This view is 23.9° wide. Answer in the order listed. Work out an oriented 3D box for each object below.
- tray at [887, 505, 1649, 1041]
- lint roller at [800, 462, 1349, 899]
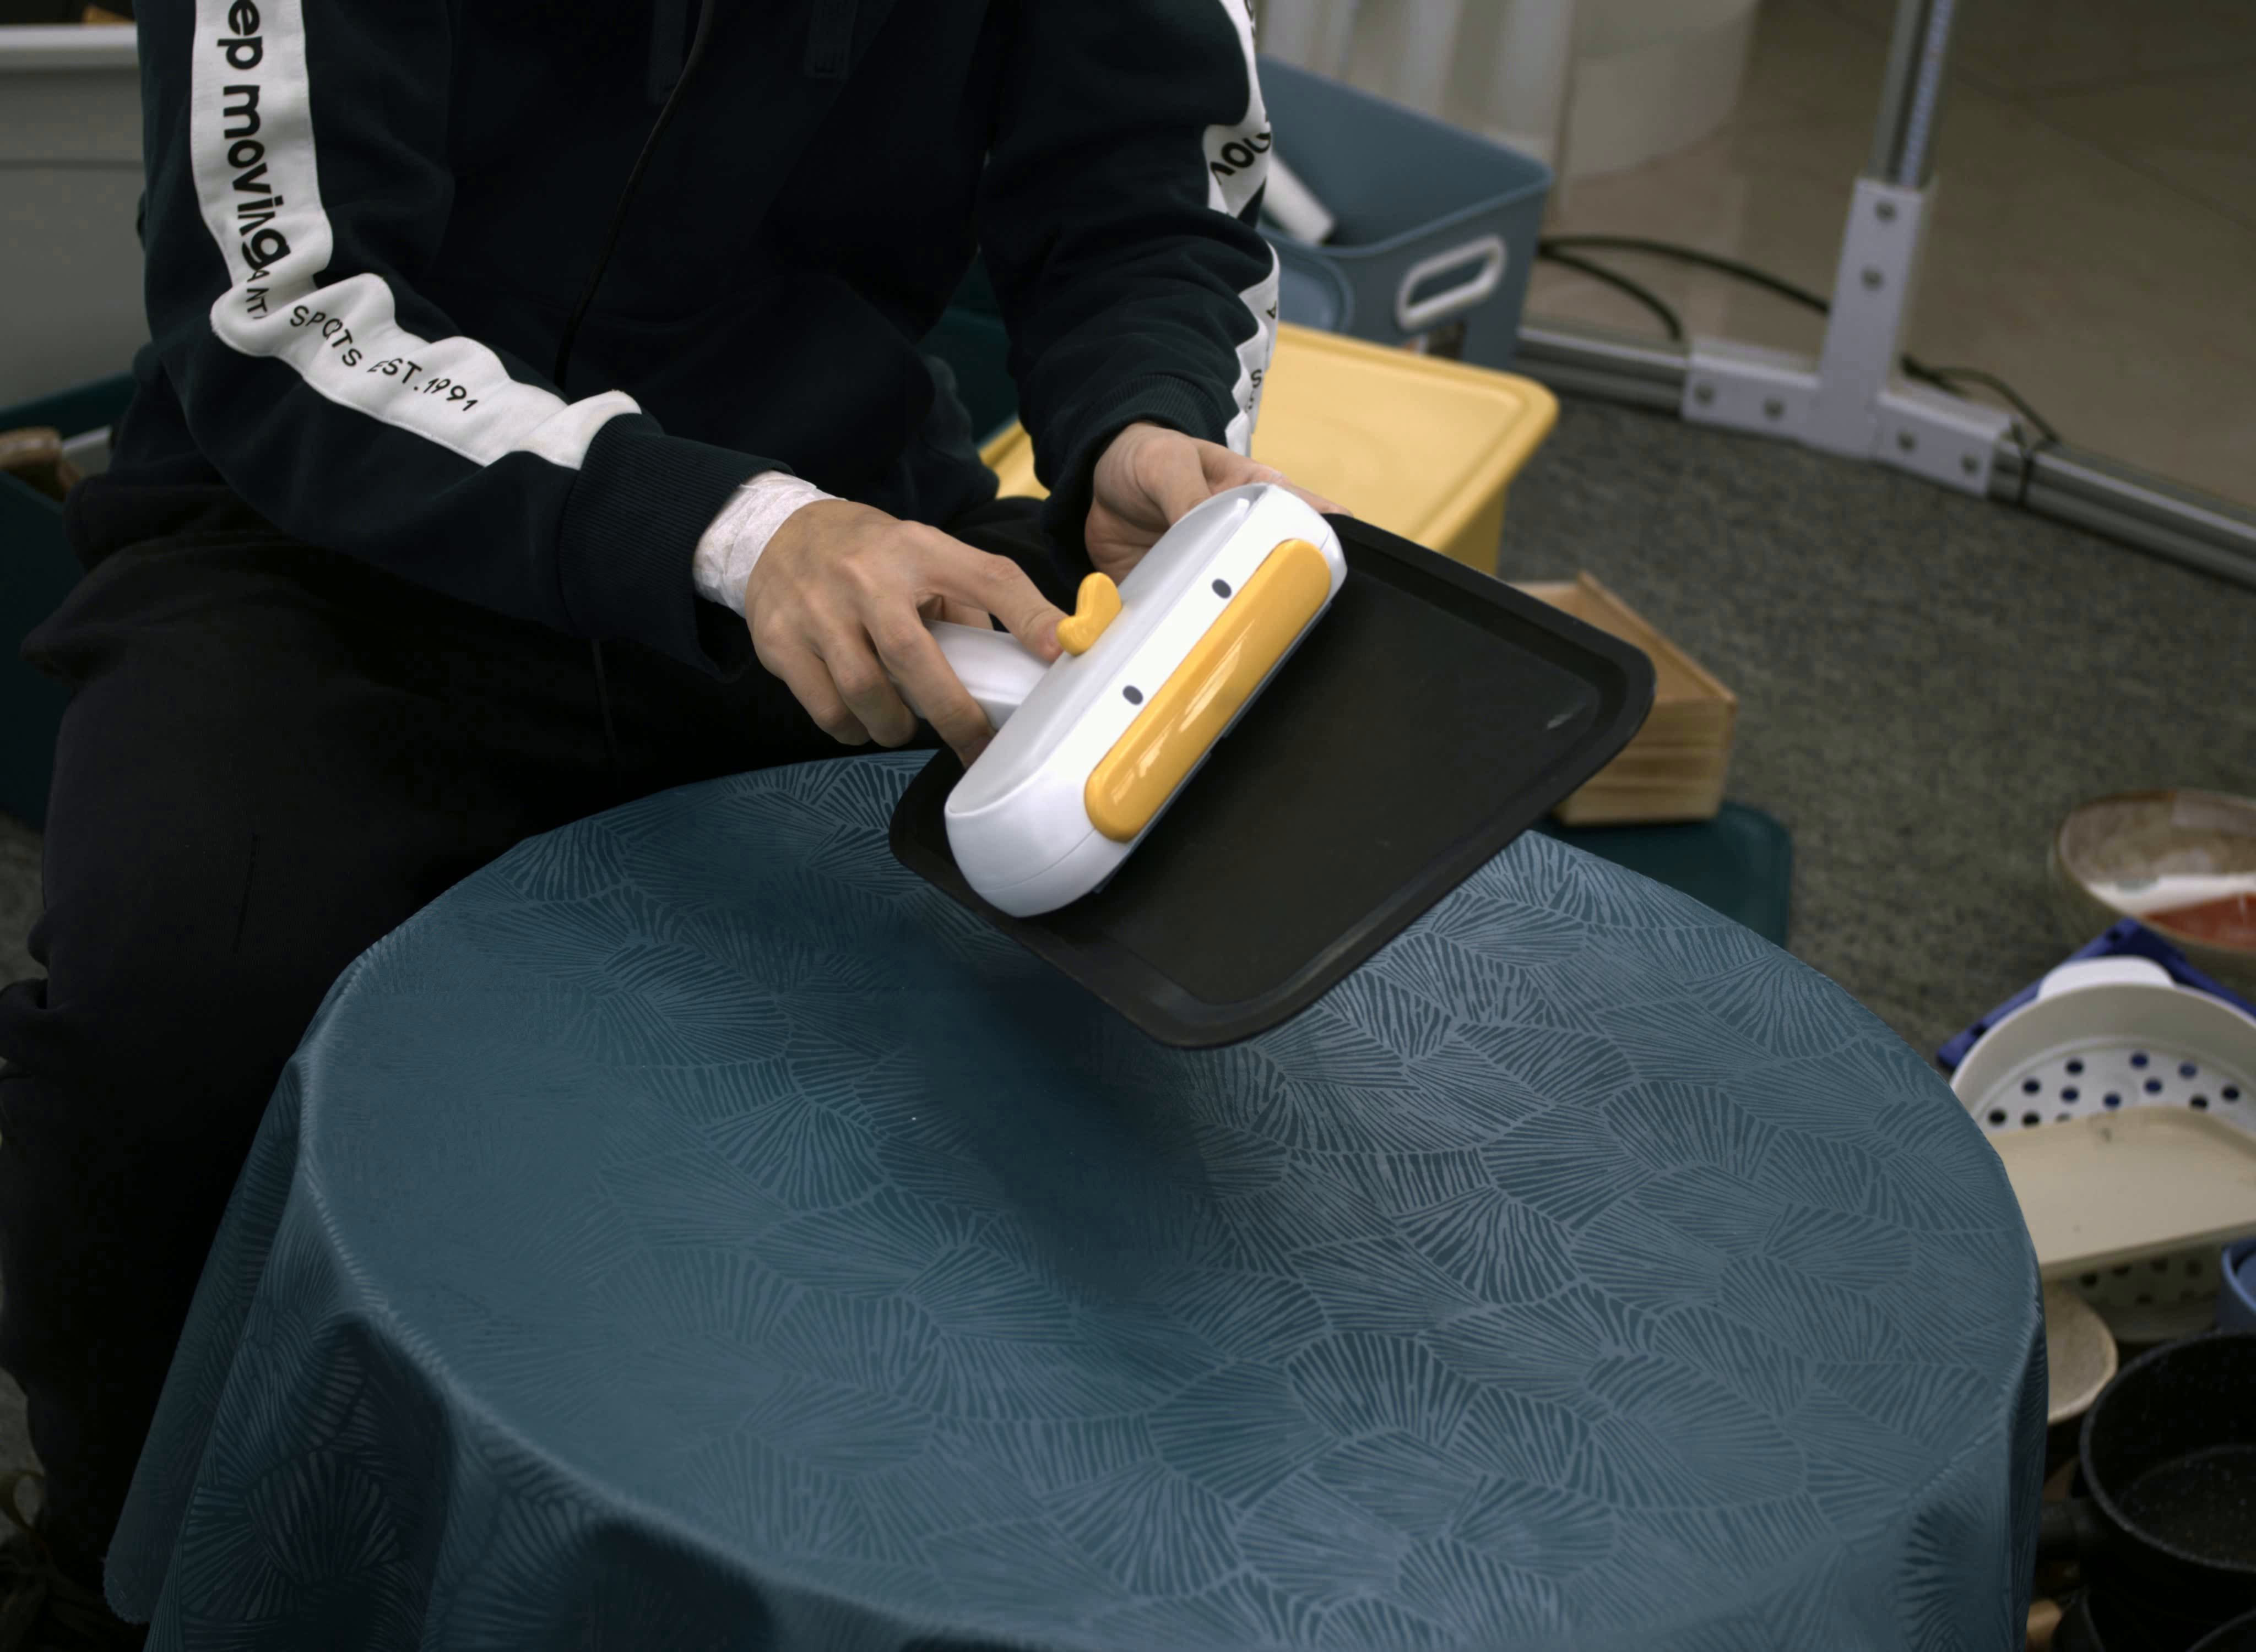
[{"bbox_3d":[0.037,-0.027,1.840,0.211,0.010,0.328,-39,27,-10],"label":"tray"},{"bbox_3d":[-0.035,-0.051,1.889,0.193,0.073,0.193,-8,40,45],"label":"lint roller"}]
